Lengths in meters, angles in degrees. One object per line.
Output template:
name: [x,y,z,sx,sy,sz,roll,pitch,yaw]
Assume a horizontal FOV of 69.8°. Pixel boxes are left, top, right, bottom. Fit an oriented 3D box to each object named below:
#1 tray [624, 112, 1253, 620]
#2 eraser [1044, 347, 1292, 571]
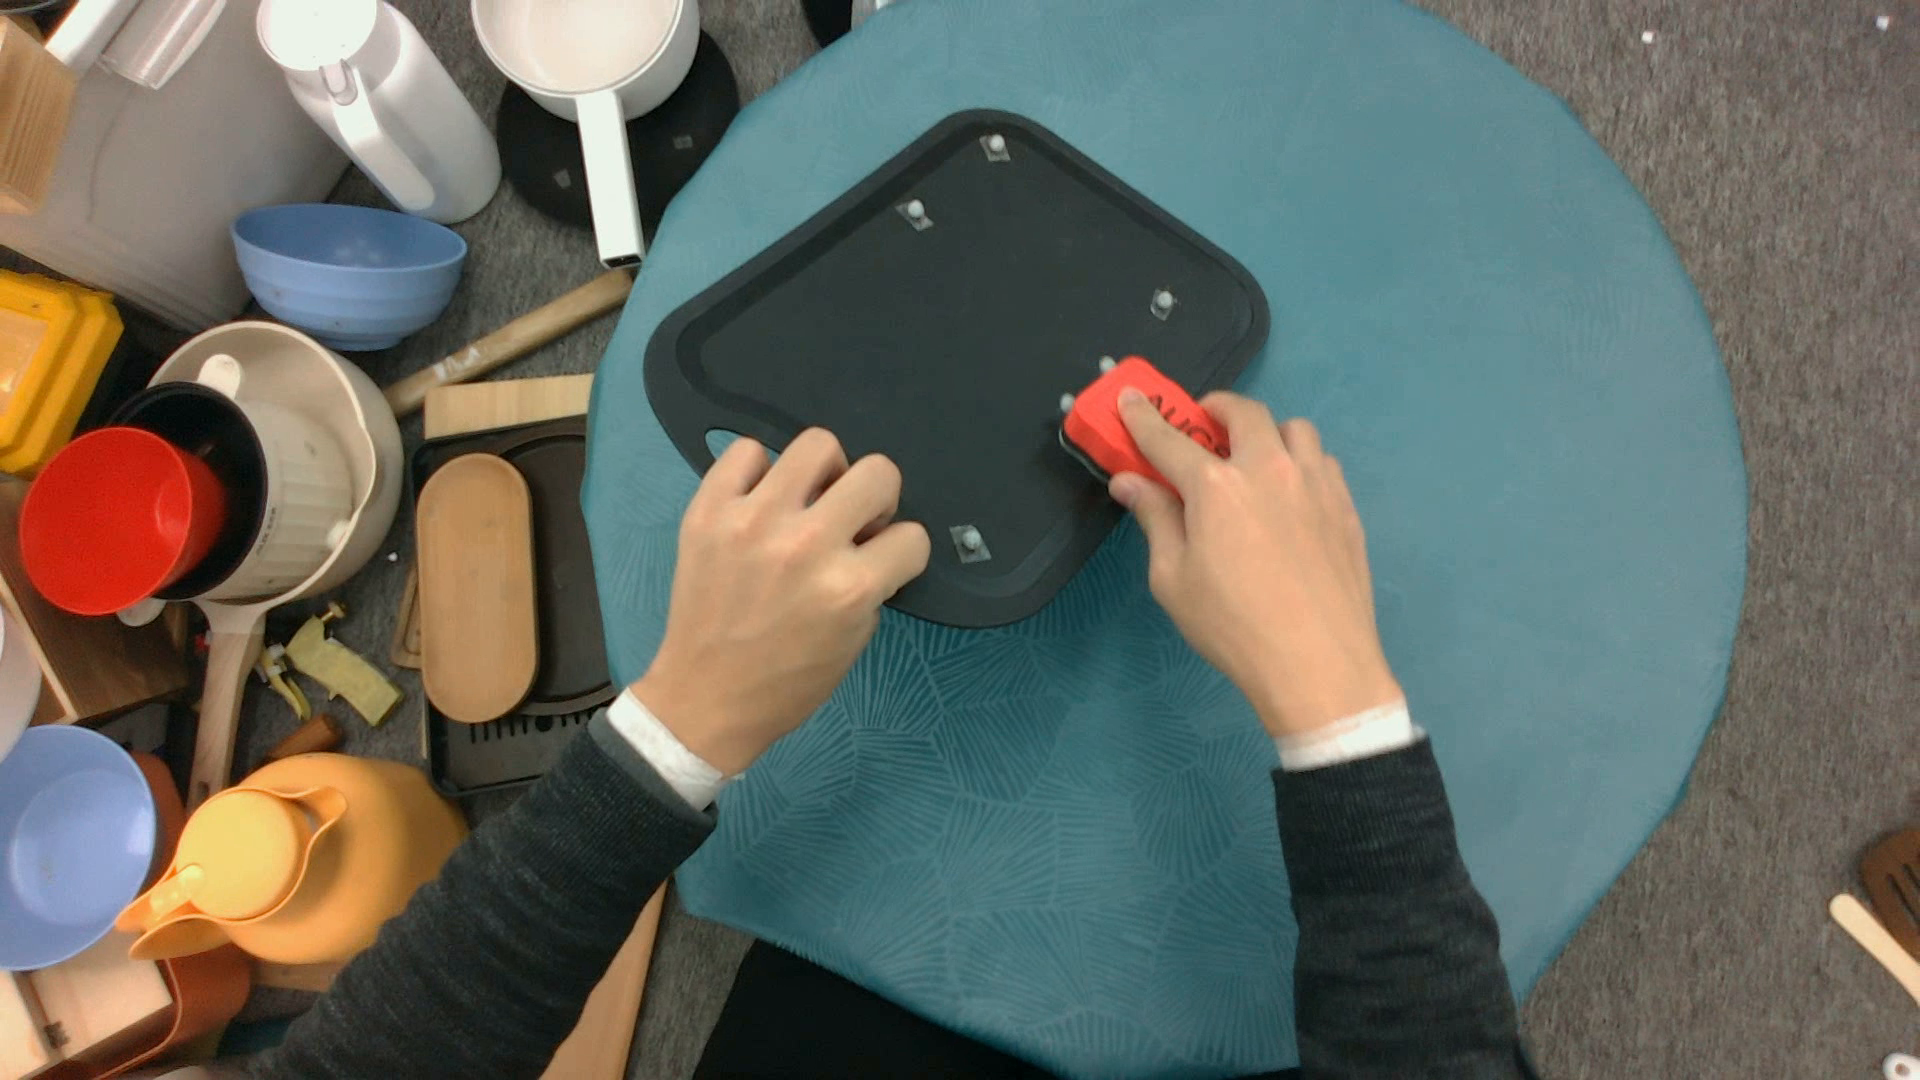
tray: [0.002,-0.097,0.650,0.211,0.010,0.327,37,51,9]
eraser: [0.095,-0.038,0.628,0.108,0.023,0.059,41,57,10]
